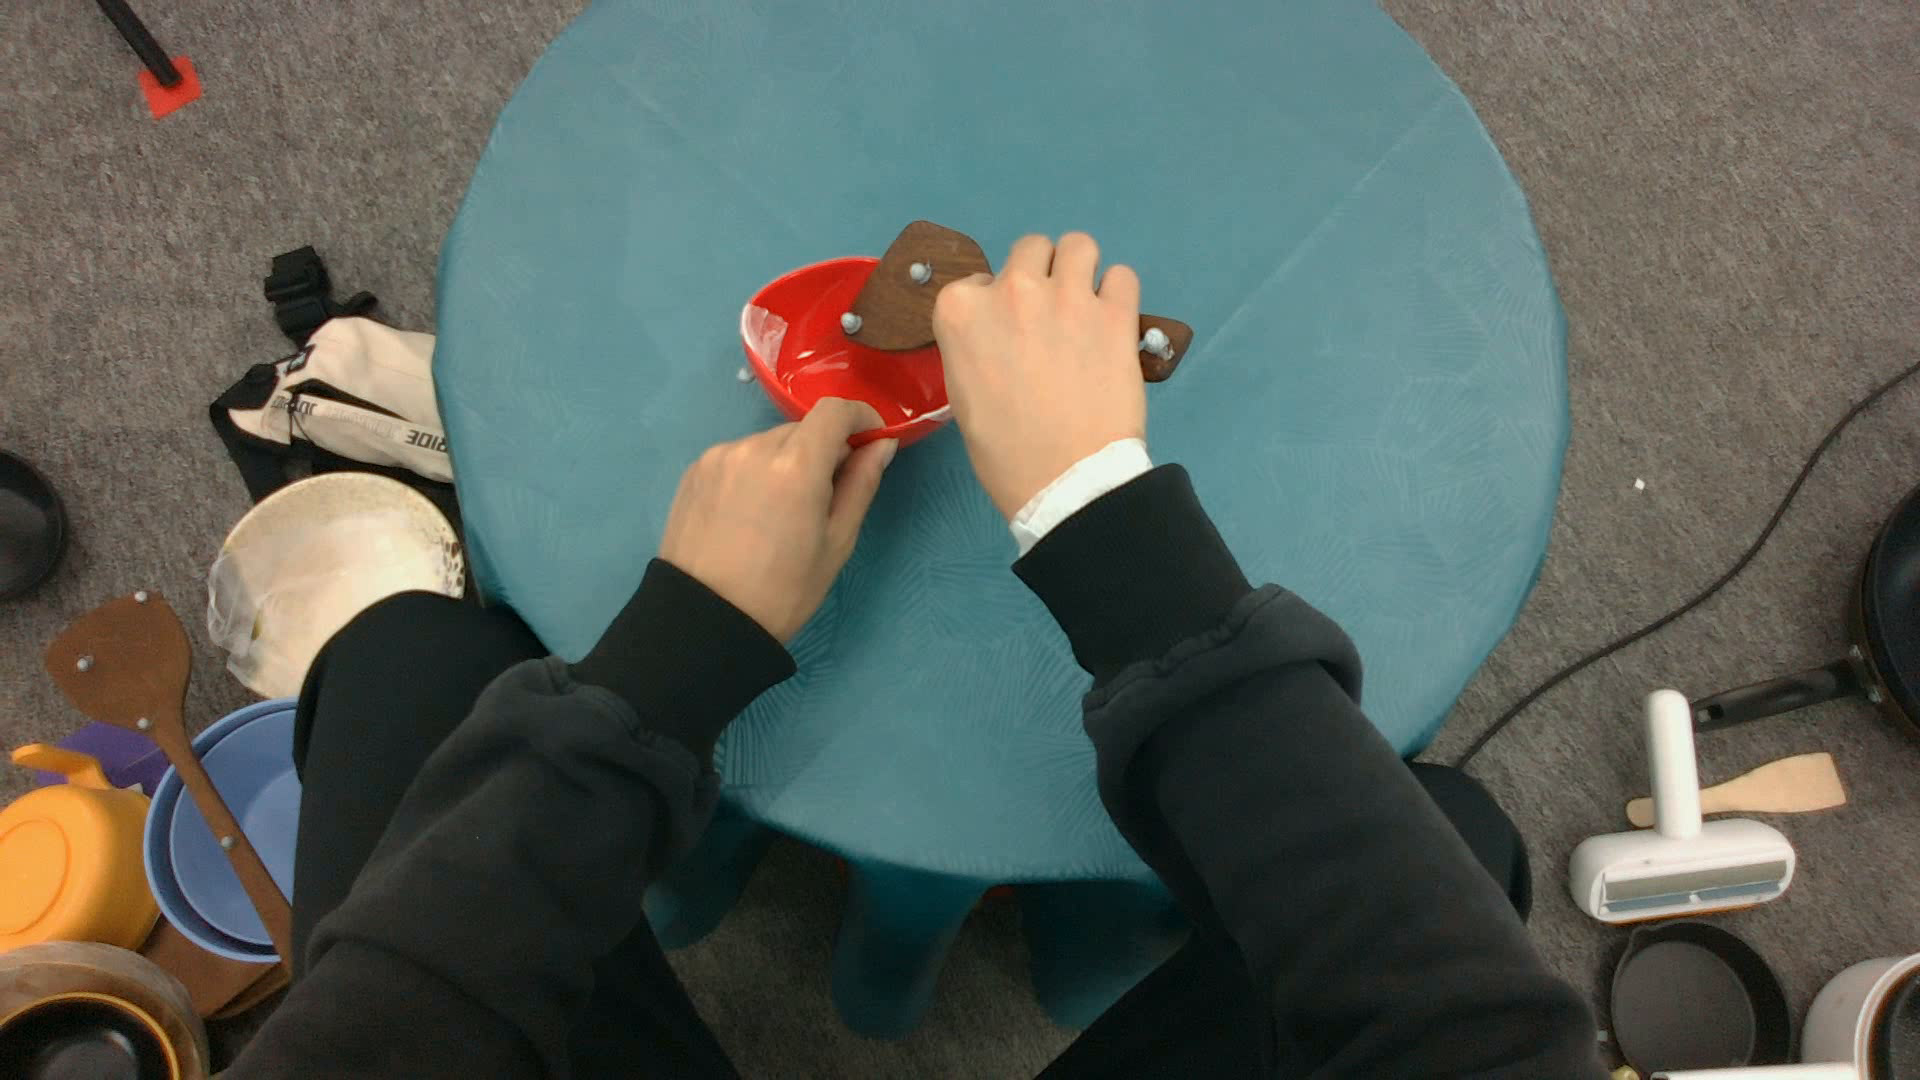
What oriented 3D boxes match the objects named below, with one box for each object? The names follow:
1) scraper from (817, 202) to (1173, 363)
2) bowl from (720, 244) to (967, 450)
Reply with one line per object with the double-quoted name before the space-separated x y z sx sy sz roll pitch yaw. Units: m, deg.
"scraper" 0.012 -0.110 0.616 0.211 0.011 0.076 25 77 46
"bowl" -0.060 -0.088 0.674 0.119 0.051 0.119 8 49 -10
